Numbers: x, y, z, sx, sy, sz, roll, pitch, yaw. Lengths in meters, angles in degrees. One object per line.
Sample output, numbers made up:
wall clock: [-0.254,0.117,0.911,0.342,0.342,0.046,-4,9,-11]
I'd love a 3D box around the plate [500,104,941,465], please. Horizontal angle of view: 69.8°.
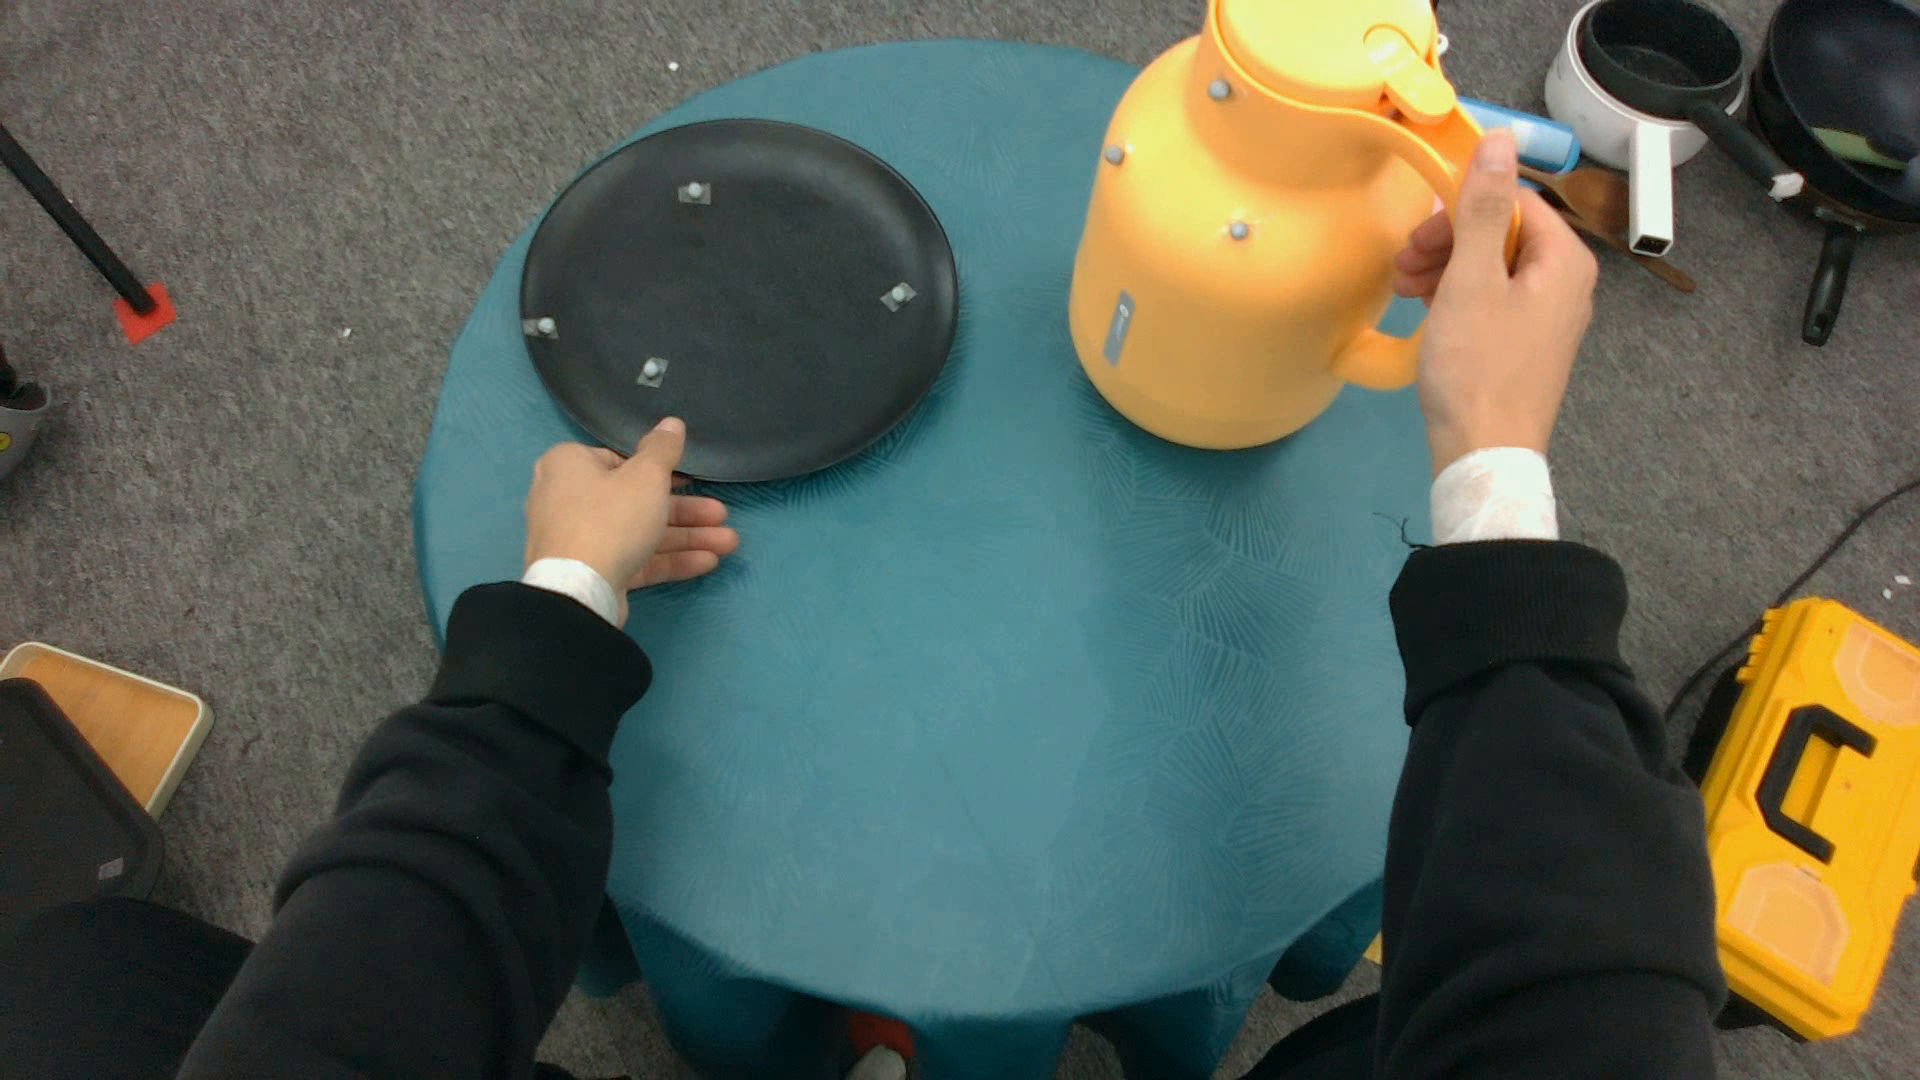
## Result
plate: [-0.133,-0.146,0.778,0.244,0.023,0.245,2,64,-4]

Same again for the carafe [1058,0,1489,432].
carafe: [0.149,-0.160,0.677,0.164,0.259,0.202,-34,70,-15]
